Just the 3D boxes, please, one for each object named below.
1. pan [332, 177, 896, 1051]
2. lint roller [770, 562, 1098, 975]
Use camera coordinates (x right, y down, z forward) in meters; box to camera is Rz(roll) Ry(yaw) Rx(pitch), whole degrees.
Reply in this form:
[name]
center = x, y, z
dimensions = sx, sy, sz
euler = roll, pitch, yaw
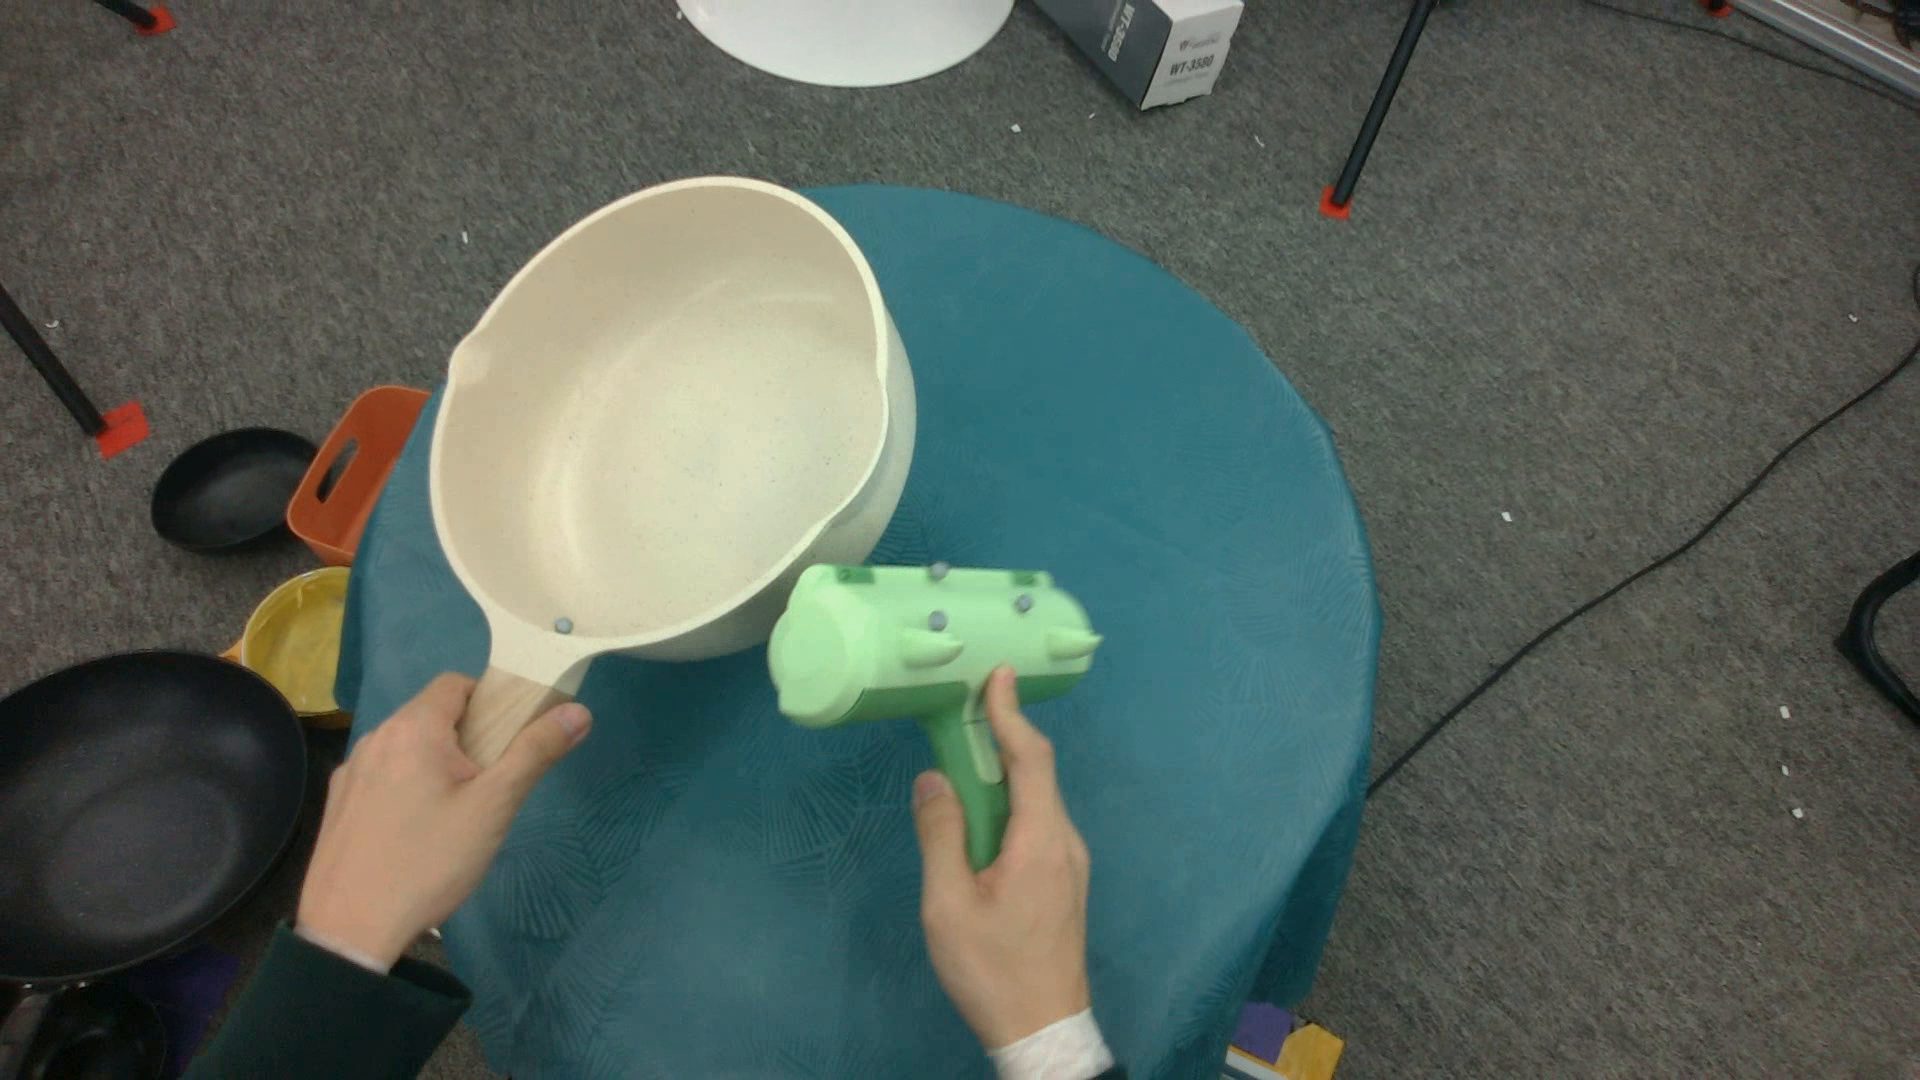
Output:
[pan]
center = -0.178, 0.028, 0.674
dimensions = 0.263, 0.102, 0.436
euler = 13, 75, 23
[lint roller]
center = 0.015, 0.096, 0.619
dimensions = 0.199, 0.082, 0.183
euler = 3, 63, -56
